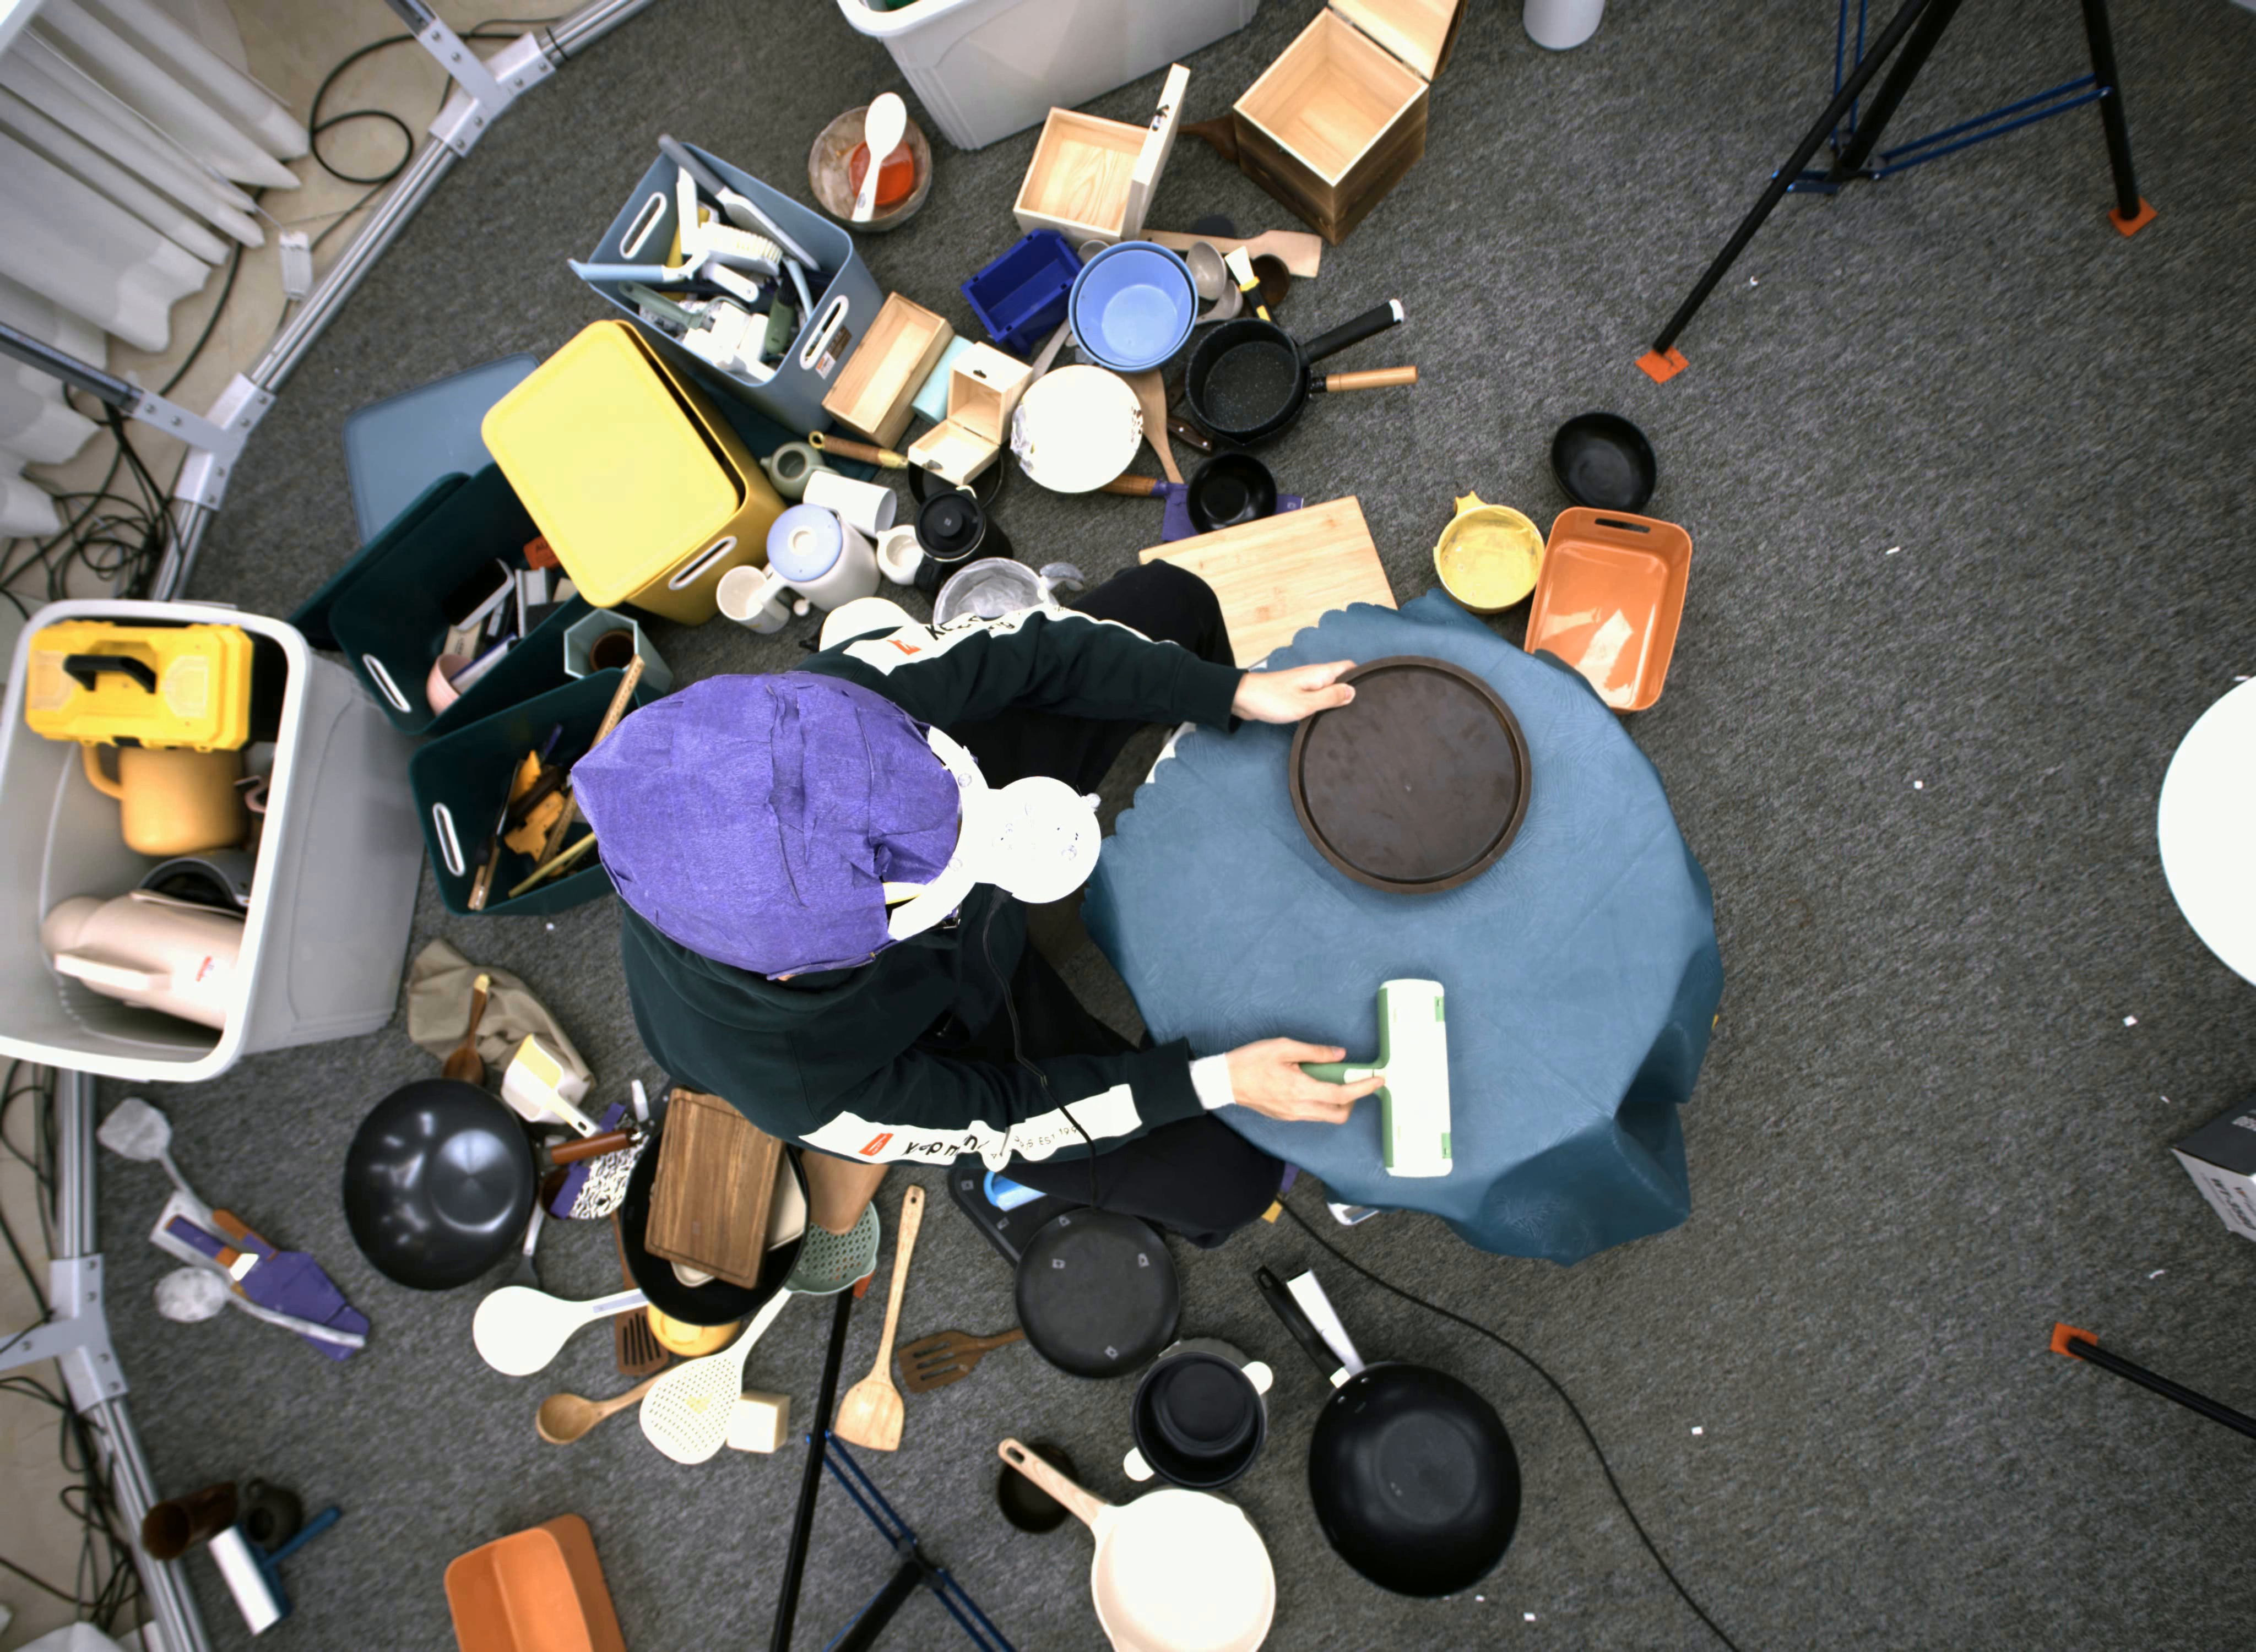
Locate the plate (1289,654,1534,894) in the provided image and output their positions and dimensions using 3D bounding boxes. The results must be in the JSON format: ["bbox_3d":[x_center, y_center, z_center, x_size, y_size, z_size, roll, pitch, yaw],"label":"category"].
[{"bbox_3d":[0.293,-0.056,1.428,0.255,0.029,0.253,0,87,2],"label":"plate"}]

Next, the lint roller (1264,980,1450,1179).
[{"bbox_3d":[0.229,0.253,1.398,0.184,0.083,0.196,-1,79,6],"label":"lint roller"}]
